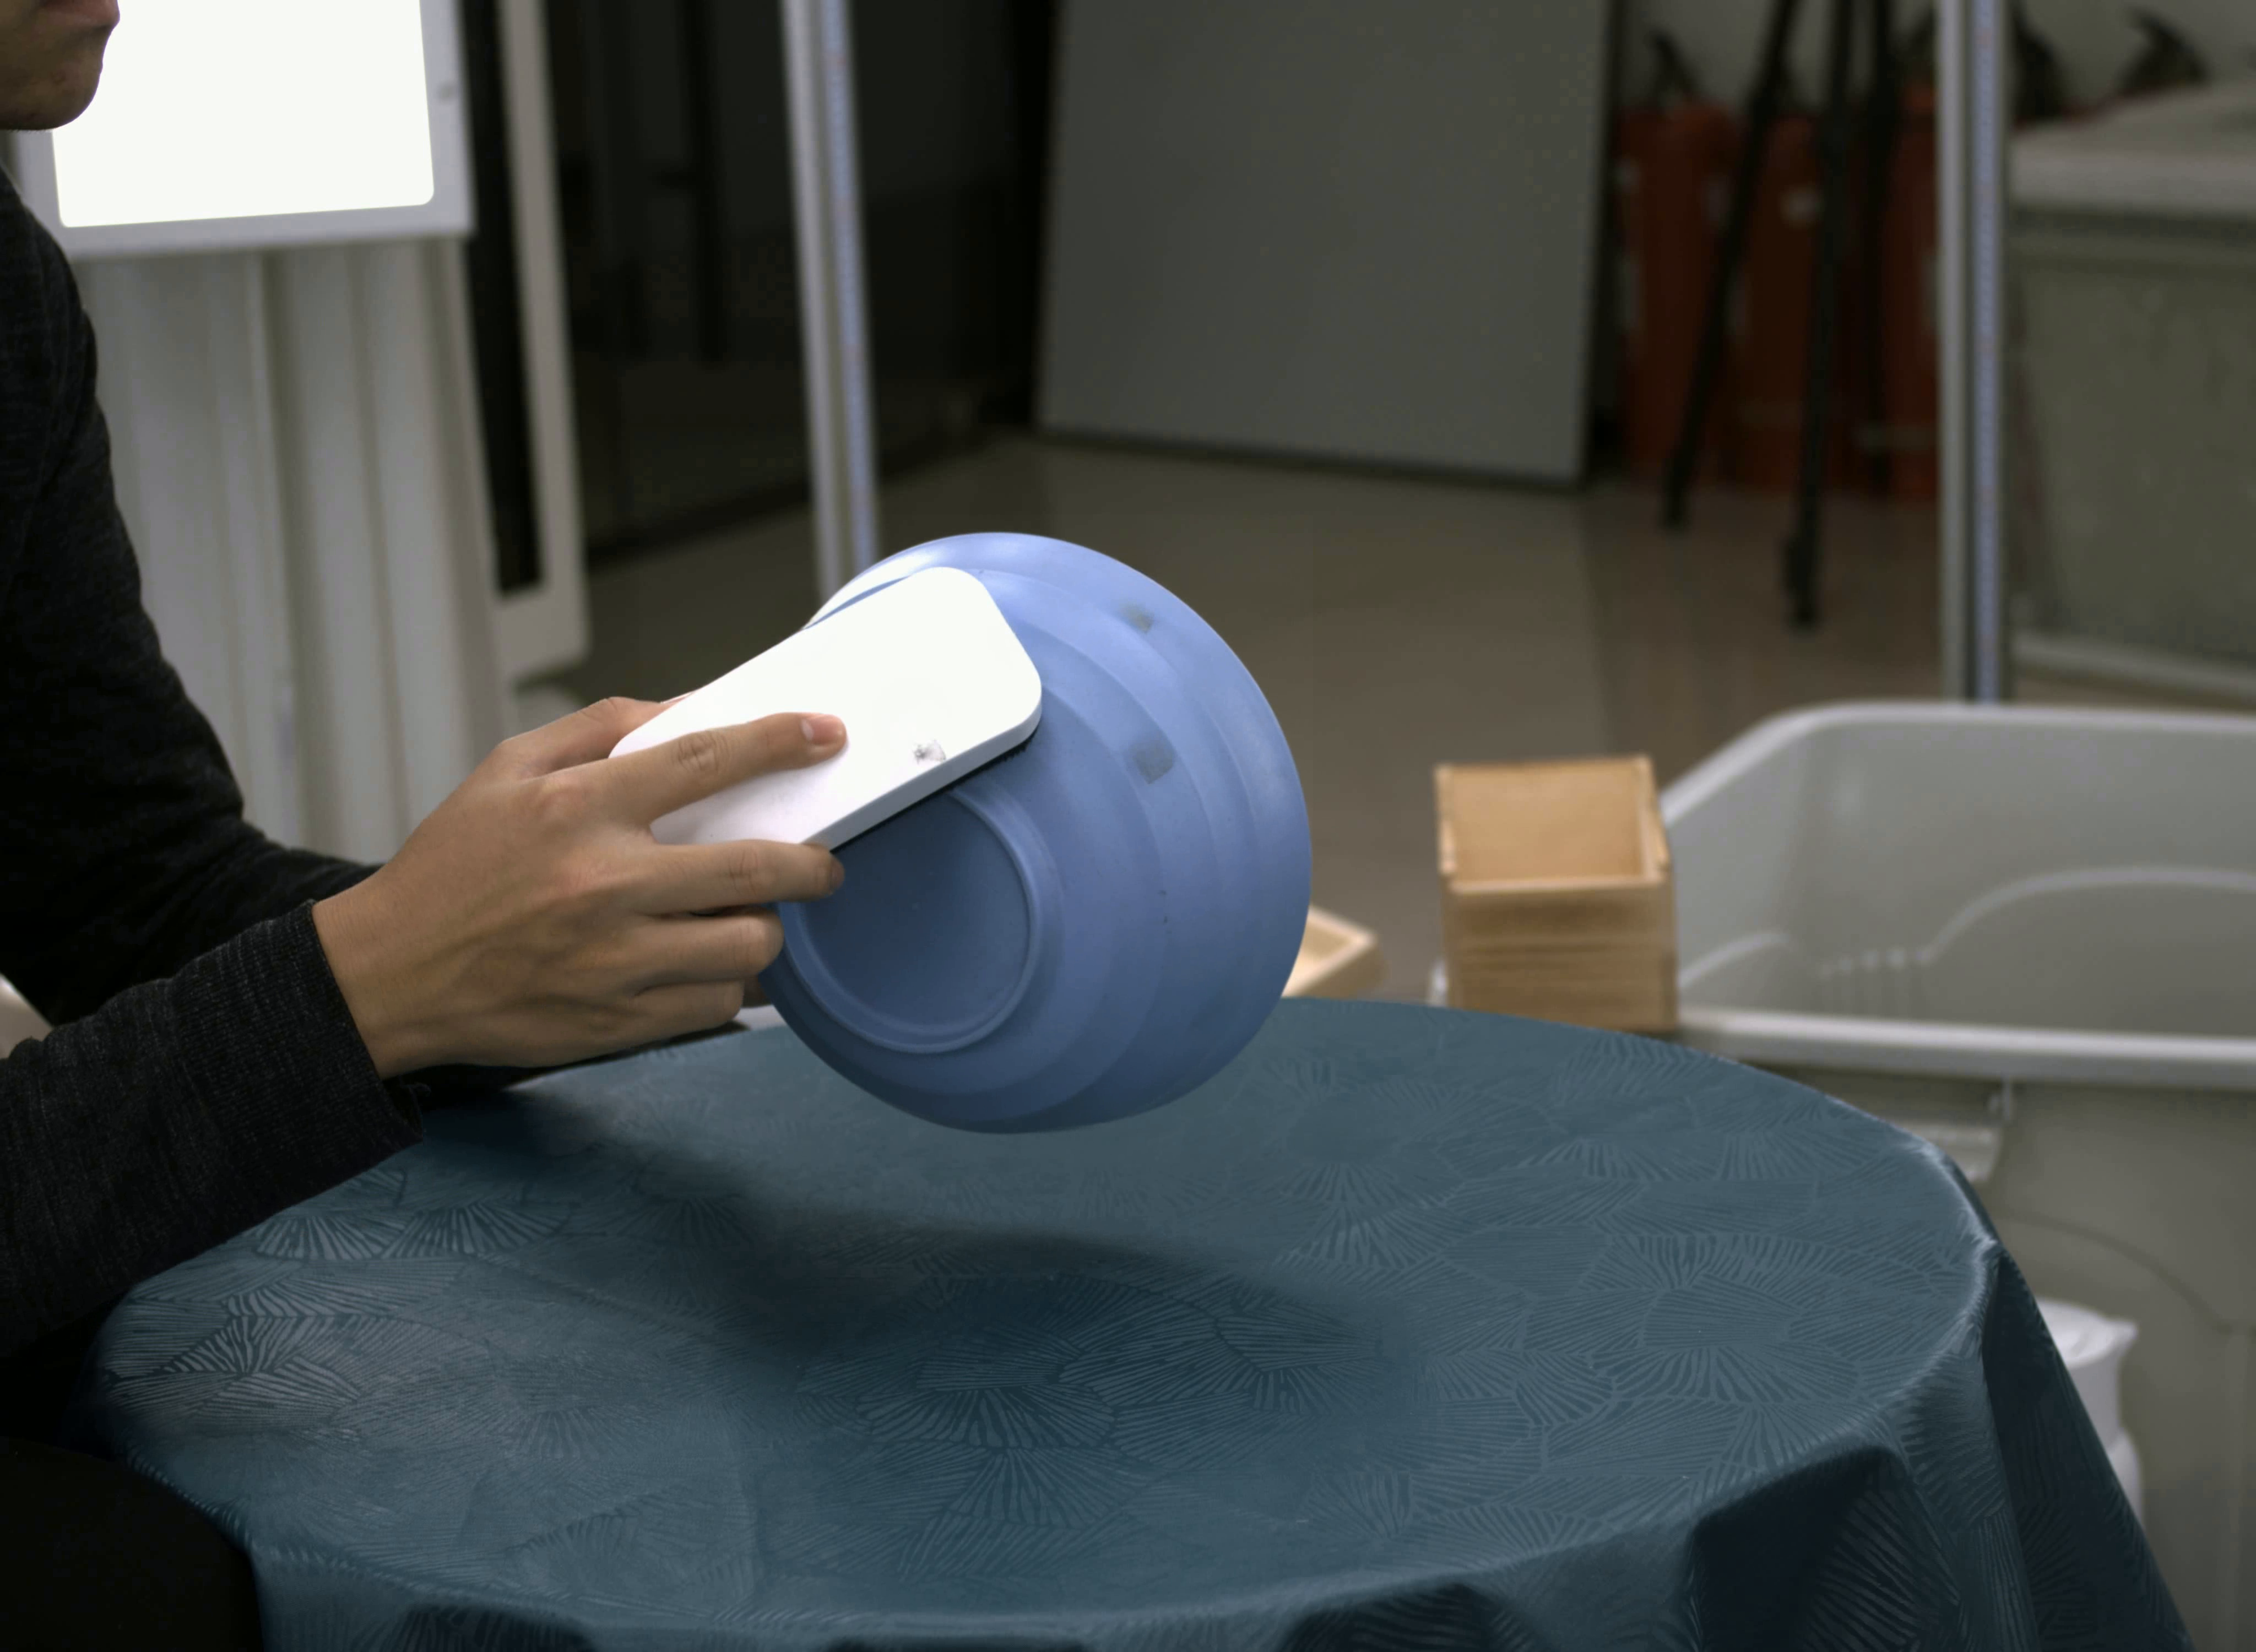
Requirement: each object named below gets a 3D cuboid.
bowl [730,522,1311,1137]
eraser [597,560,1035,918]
[{"bbox_3d":[-0.050,0.013,1.676,0.197,0.198,0.094,3,17,25],"label":"bowl"},{"bbox_3d":[-0.093,-0.027,1.612,0.130,0.064,0.034,-29,-26,-6],"label":"eraser"}]
